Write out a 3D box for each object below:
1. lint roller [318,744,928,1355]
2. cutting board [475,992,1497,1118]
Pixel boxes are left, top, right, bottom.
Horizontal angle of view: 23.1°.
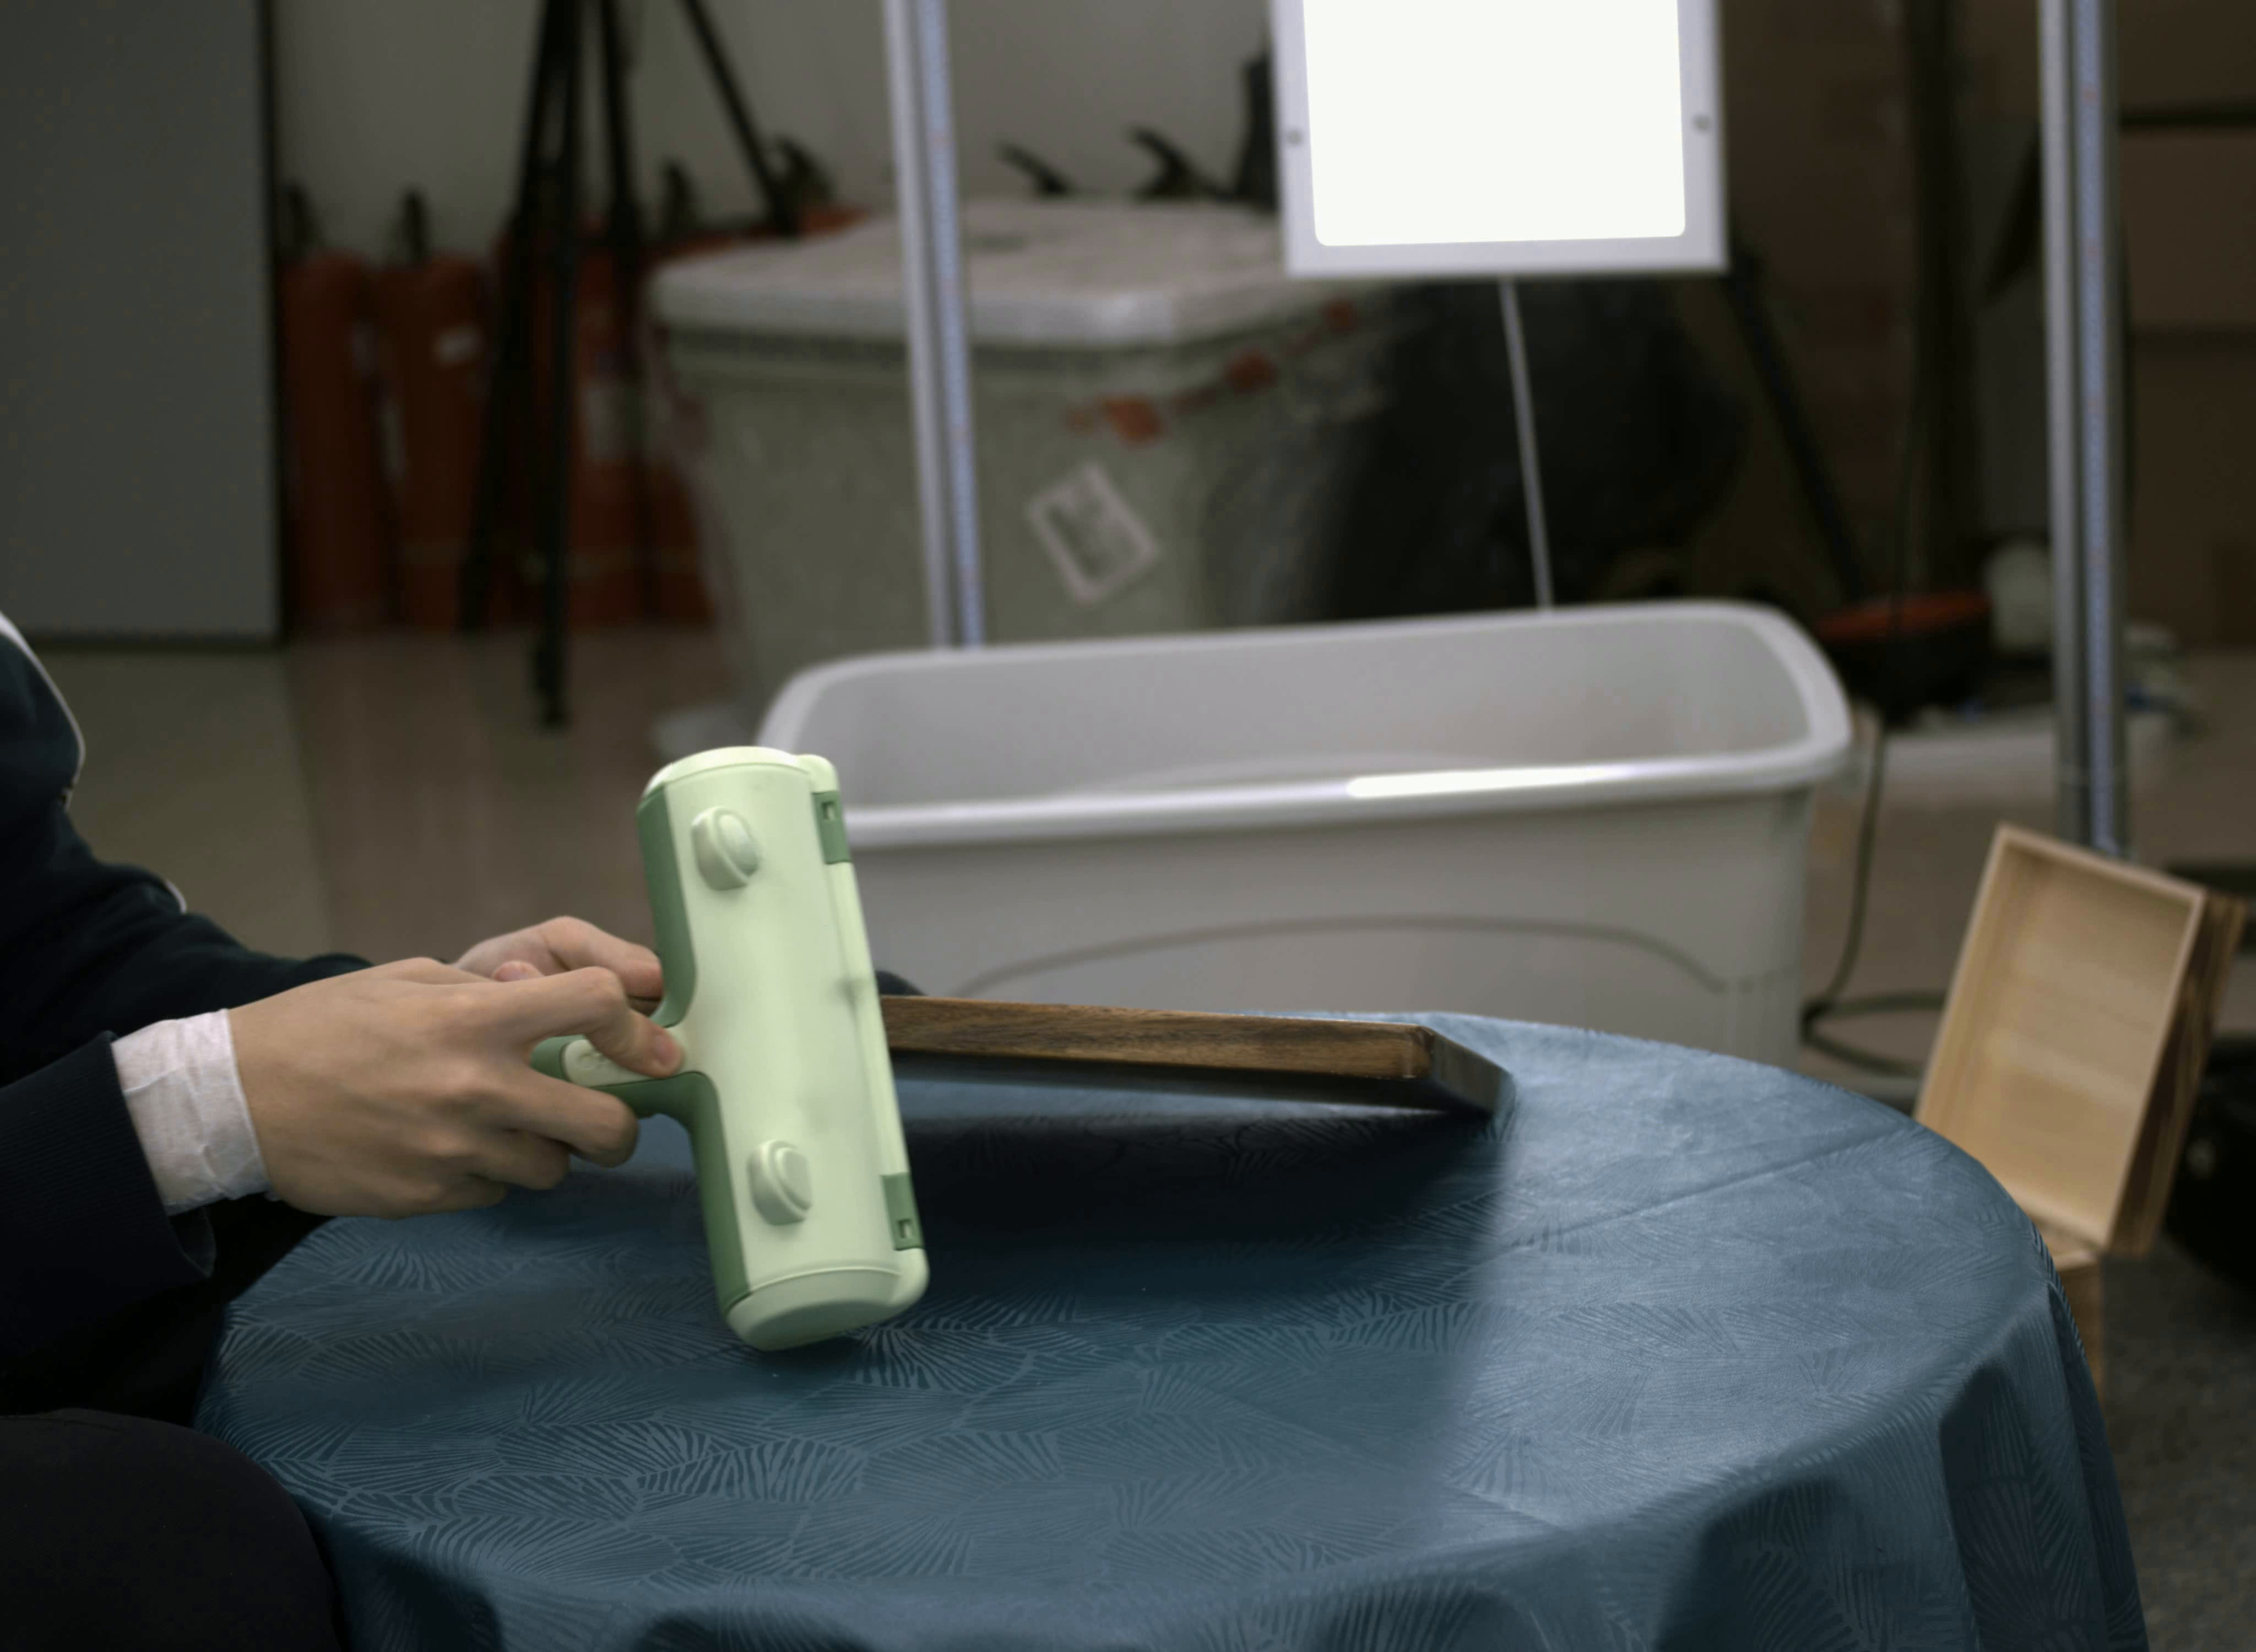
[{"bbox_3d":[-0.168,0.074,1.768,0.181,0.199,0.083,-7,-22,-9],"label":"lint roller"},{"bbox_3d":[-0.055,0.076,1.897,0.355,0.023,0.199,2,-6,13],"label":"cutting board"}]
